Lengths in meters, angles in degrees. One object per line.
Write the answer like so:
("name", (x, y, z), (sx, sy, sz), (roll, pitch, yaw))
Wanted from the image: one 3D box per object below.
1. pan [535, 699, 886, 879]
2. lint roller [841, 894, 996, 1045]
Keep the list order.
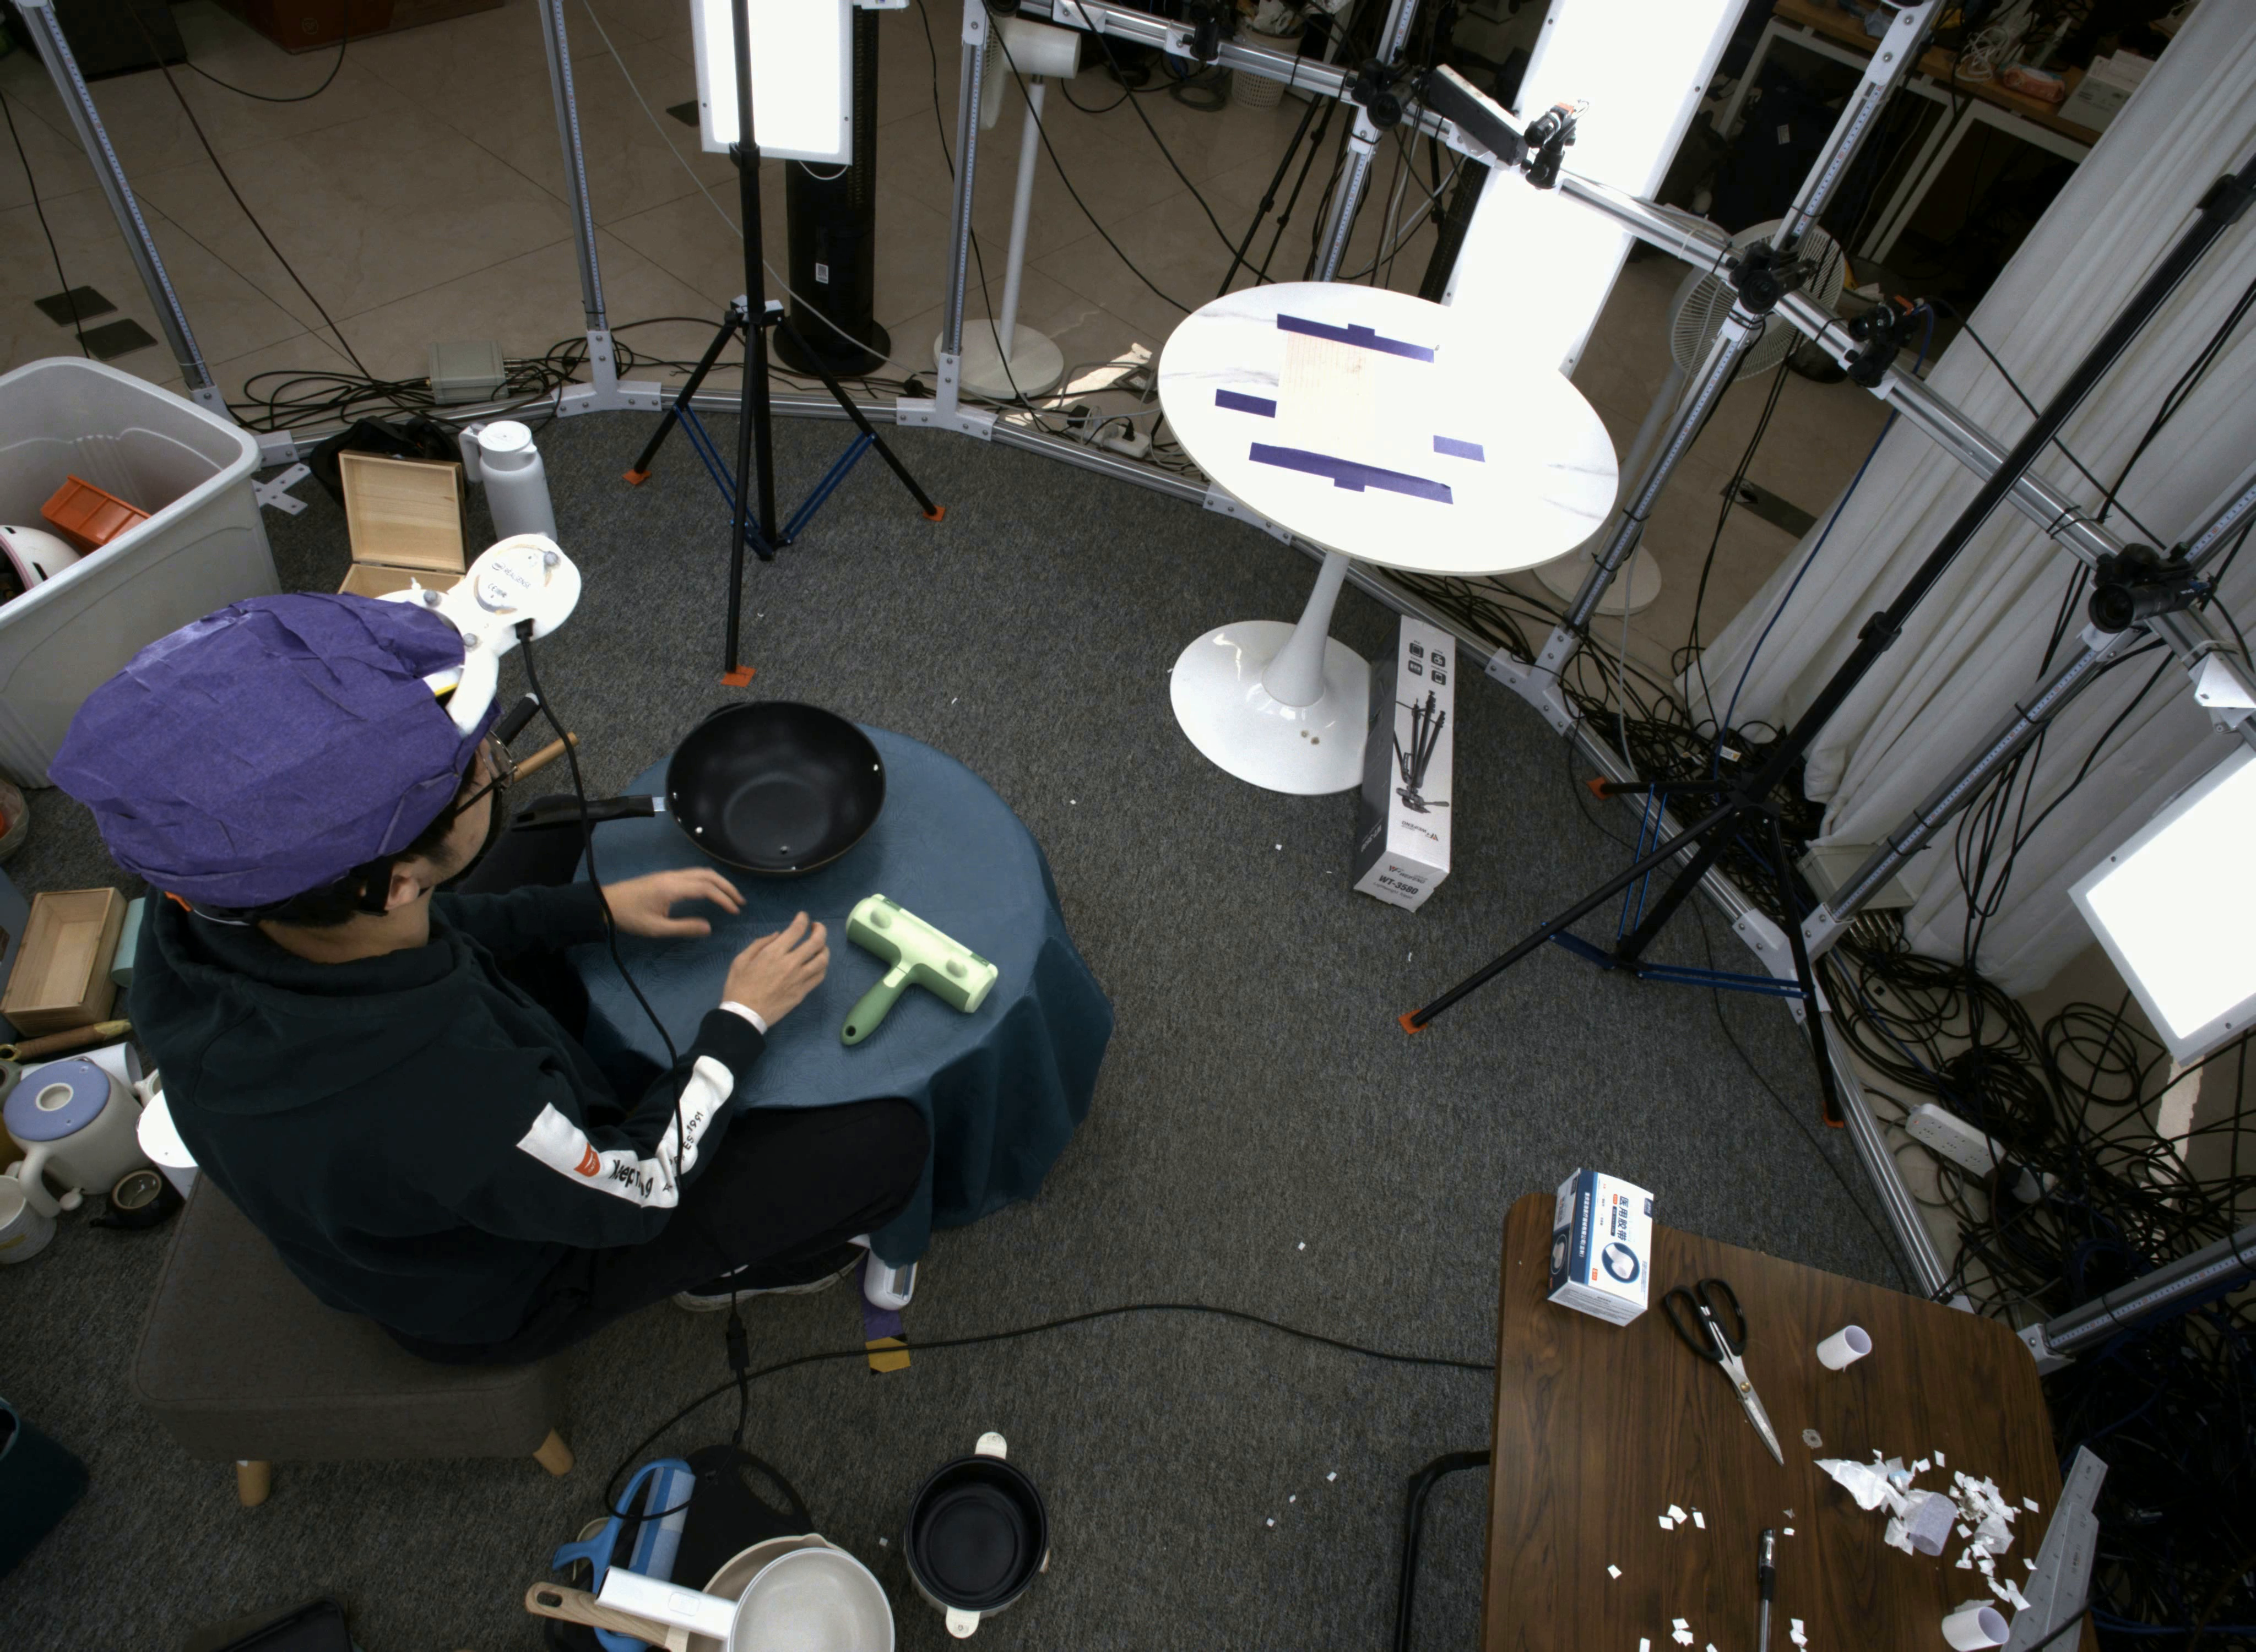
("pan", (-0.541, -0.019, 1.660), (0.465, 0.089, 0.281), (-11, 57, -21))
("lint roller", (-0.287, 0.183, 1.583), (0.195, 0.084, 0.183), (32, 48, 9))
